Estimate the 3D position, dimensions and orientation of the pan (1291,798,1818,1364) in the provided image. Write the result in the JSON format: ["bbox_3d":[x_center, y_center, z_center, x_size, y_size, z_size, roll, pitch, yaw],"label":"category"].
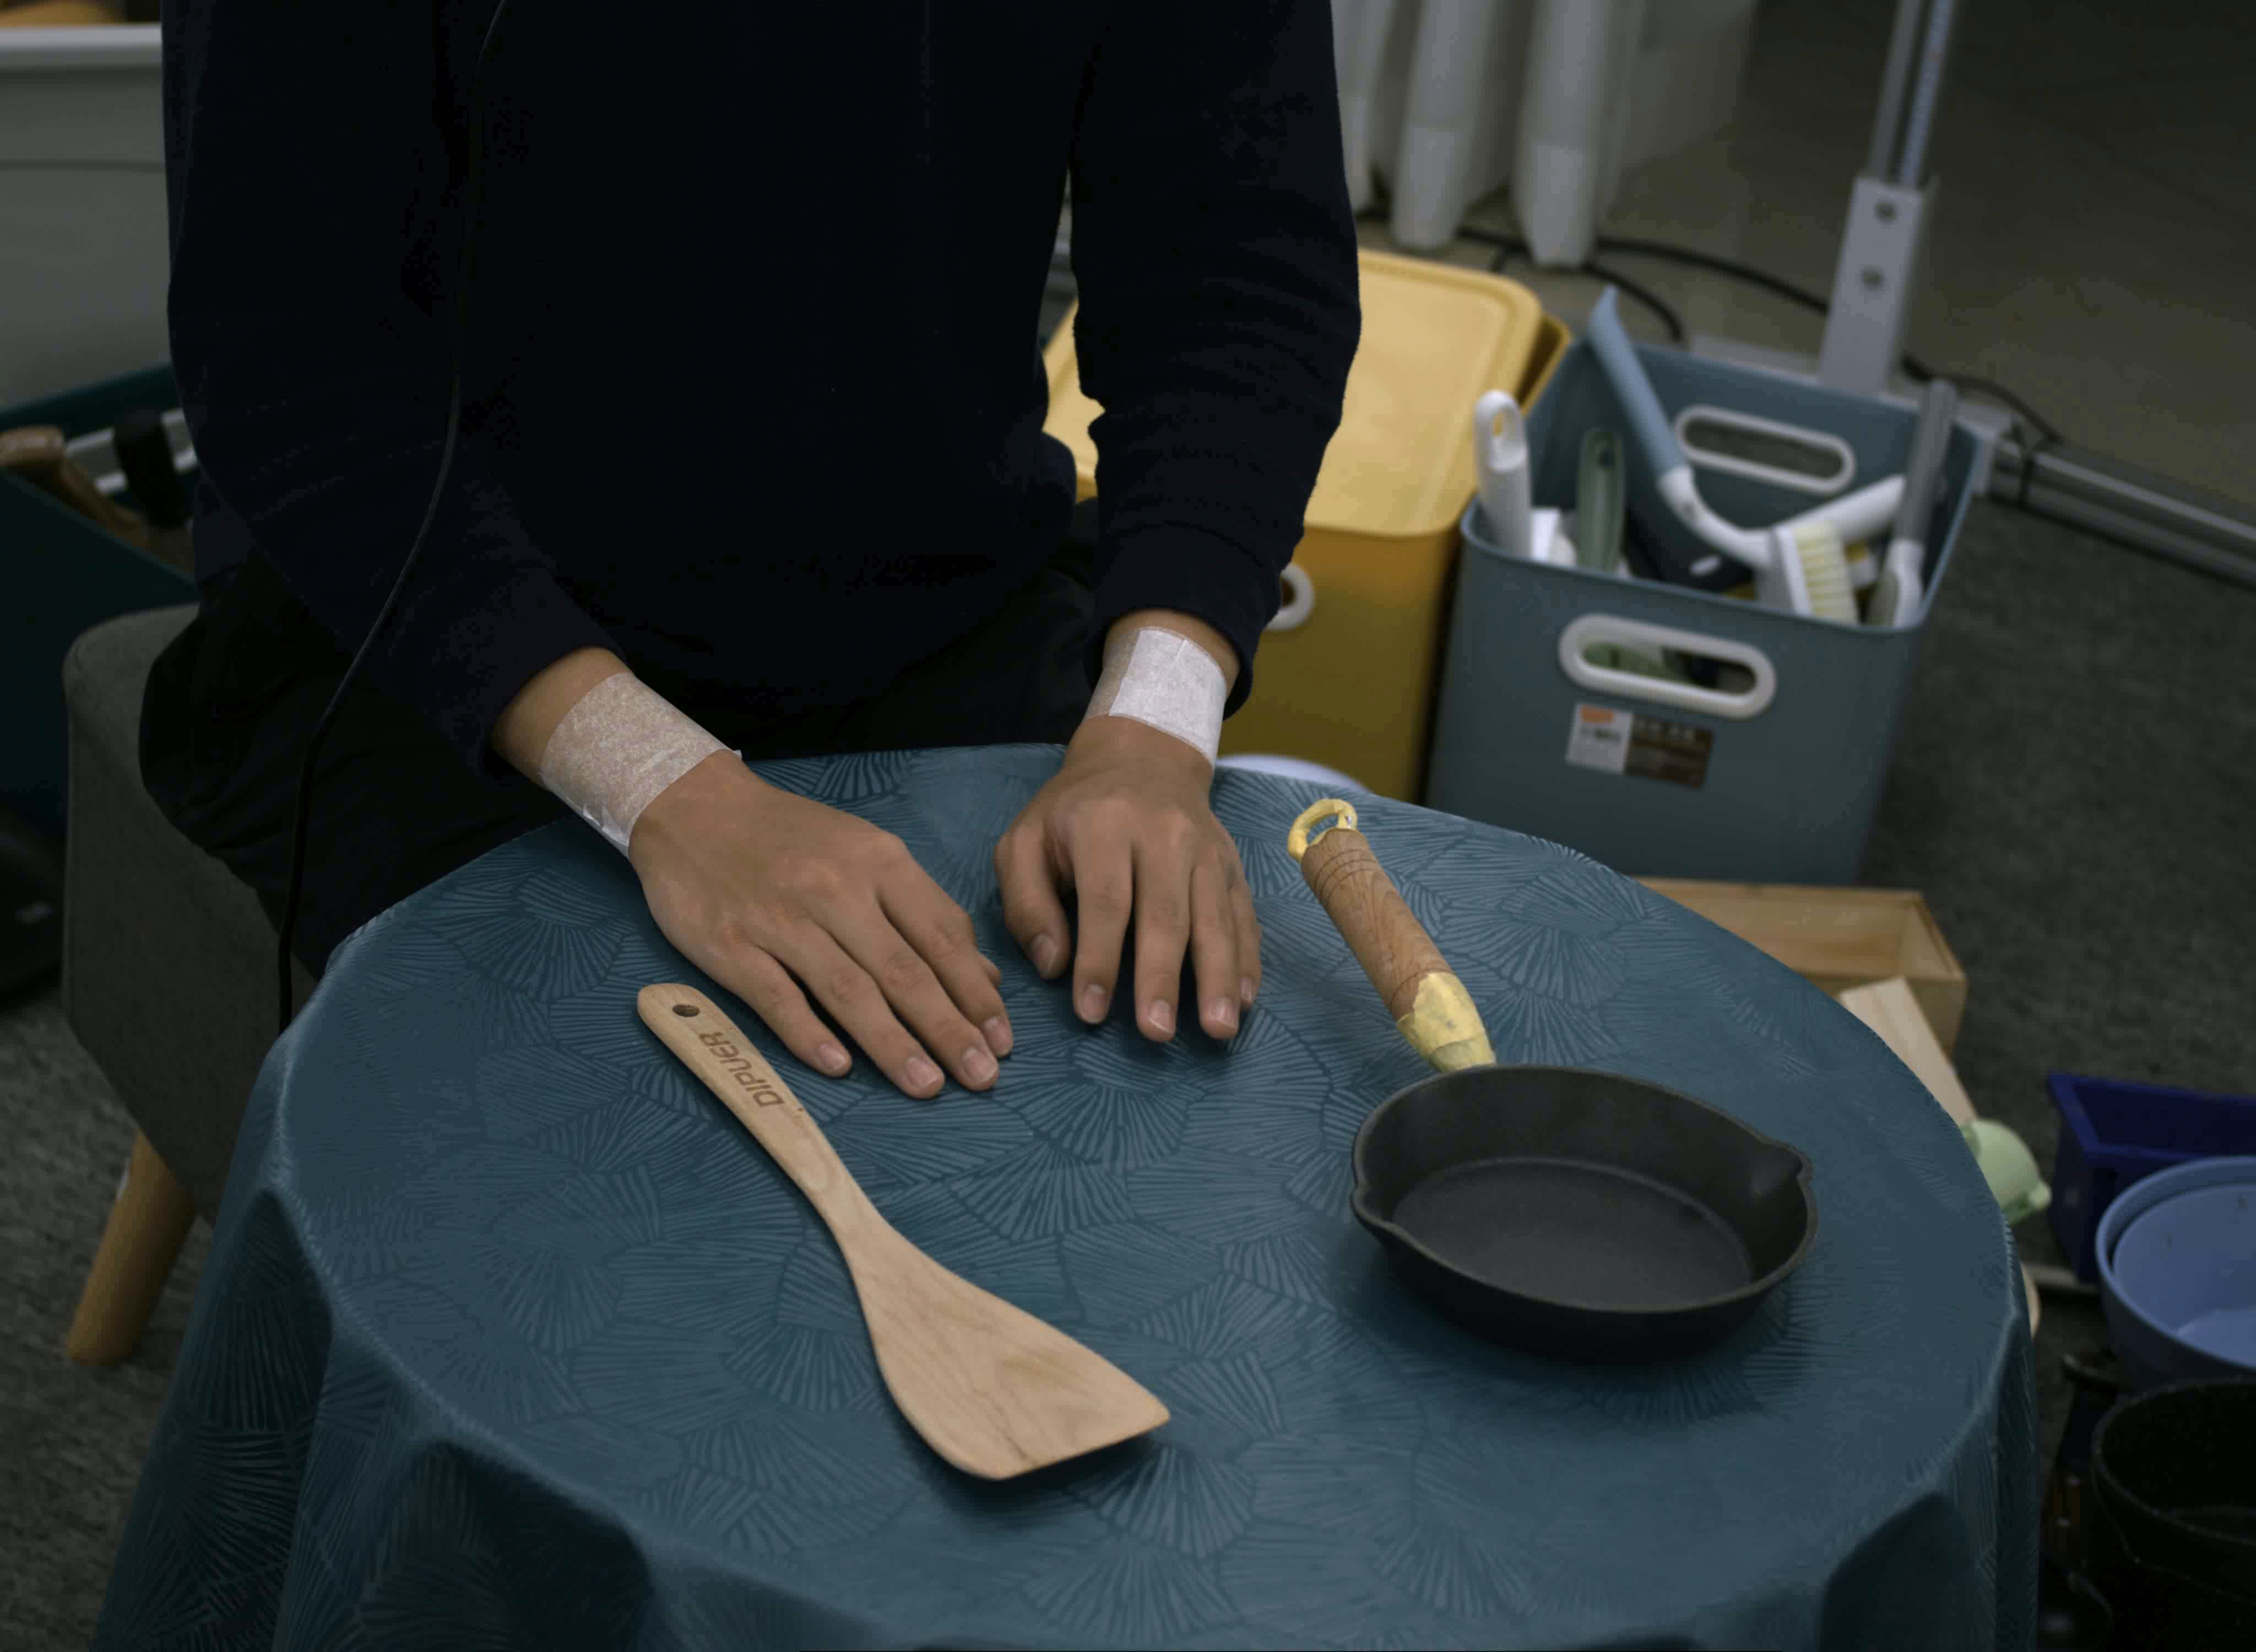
[{"bbox_3d":[0.124,0.086,1.848,0.168,0.049,0.327,-4,30,-20],"label":"pan"}]

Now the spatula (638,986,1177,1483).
[{"bbox_3d":[-0.088,0.128,1.757,0.079,0.016,0.330,-8,30,-28],"label":"spatula"}]
